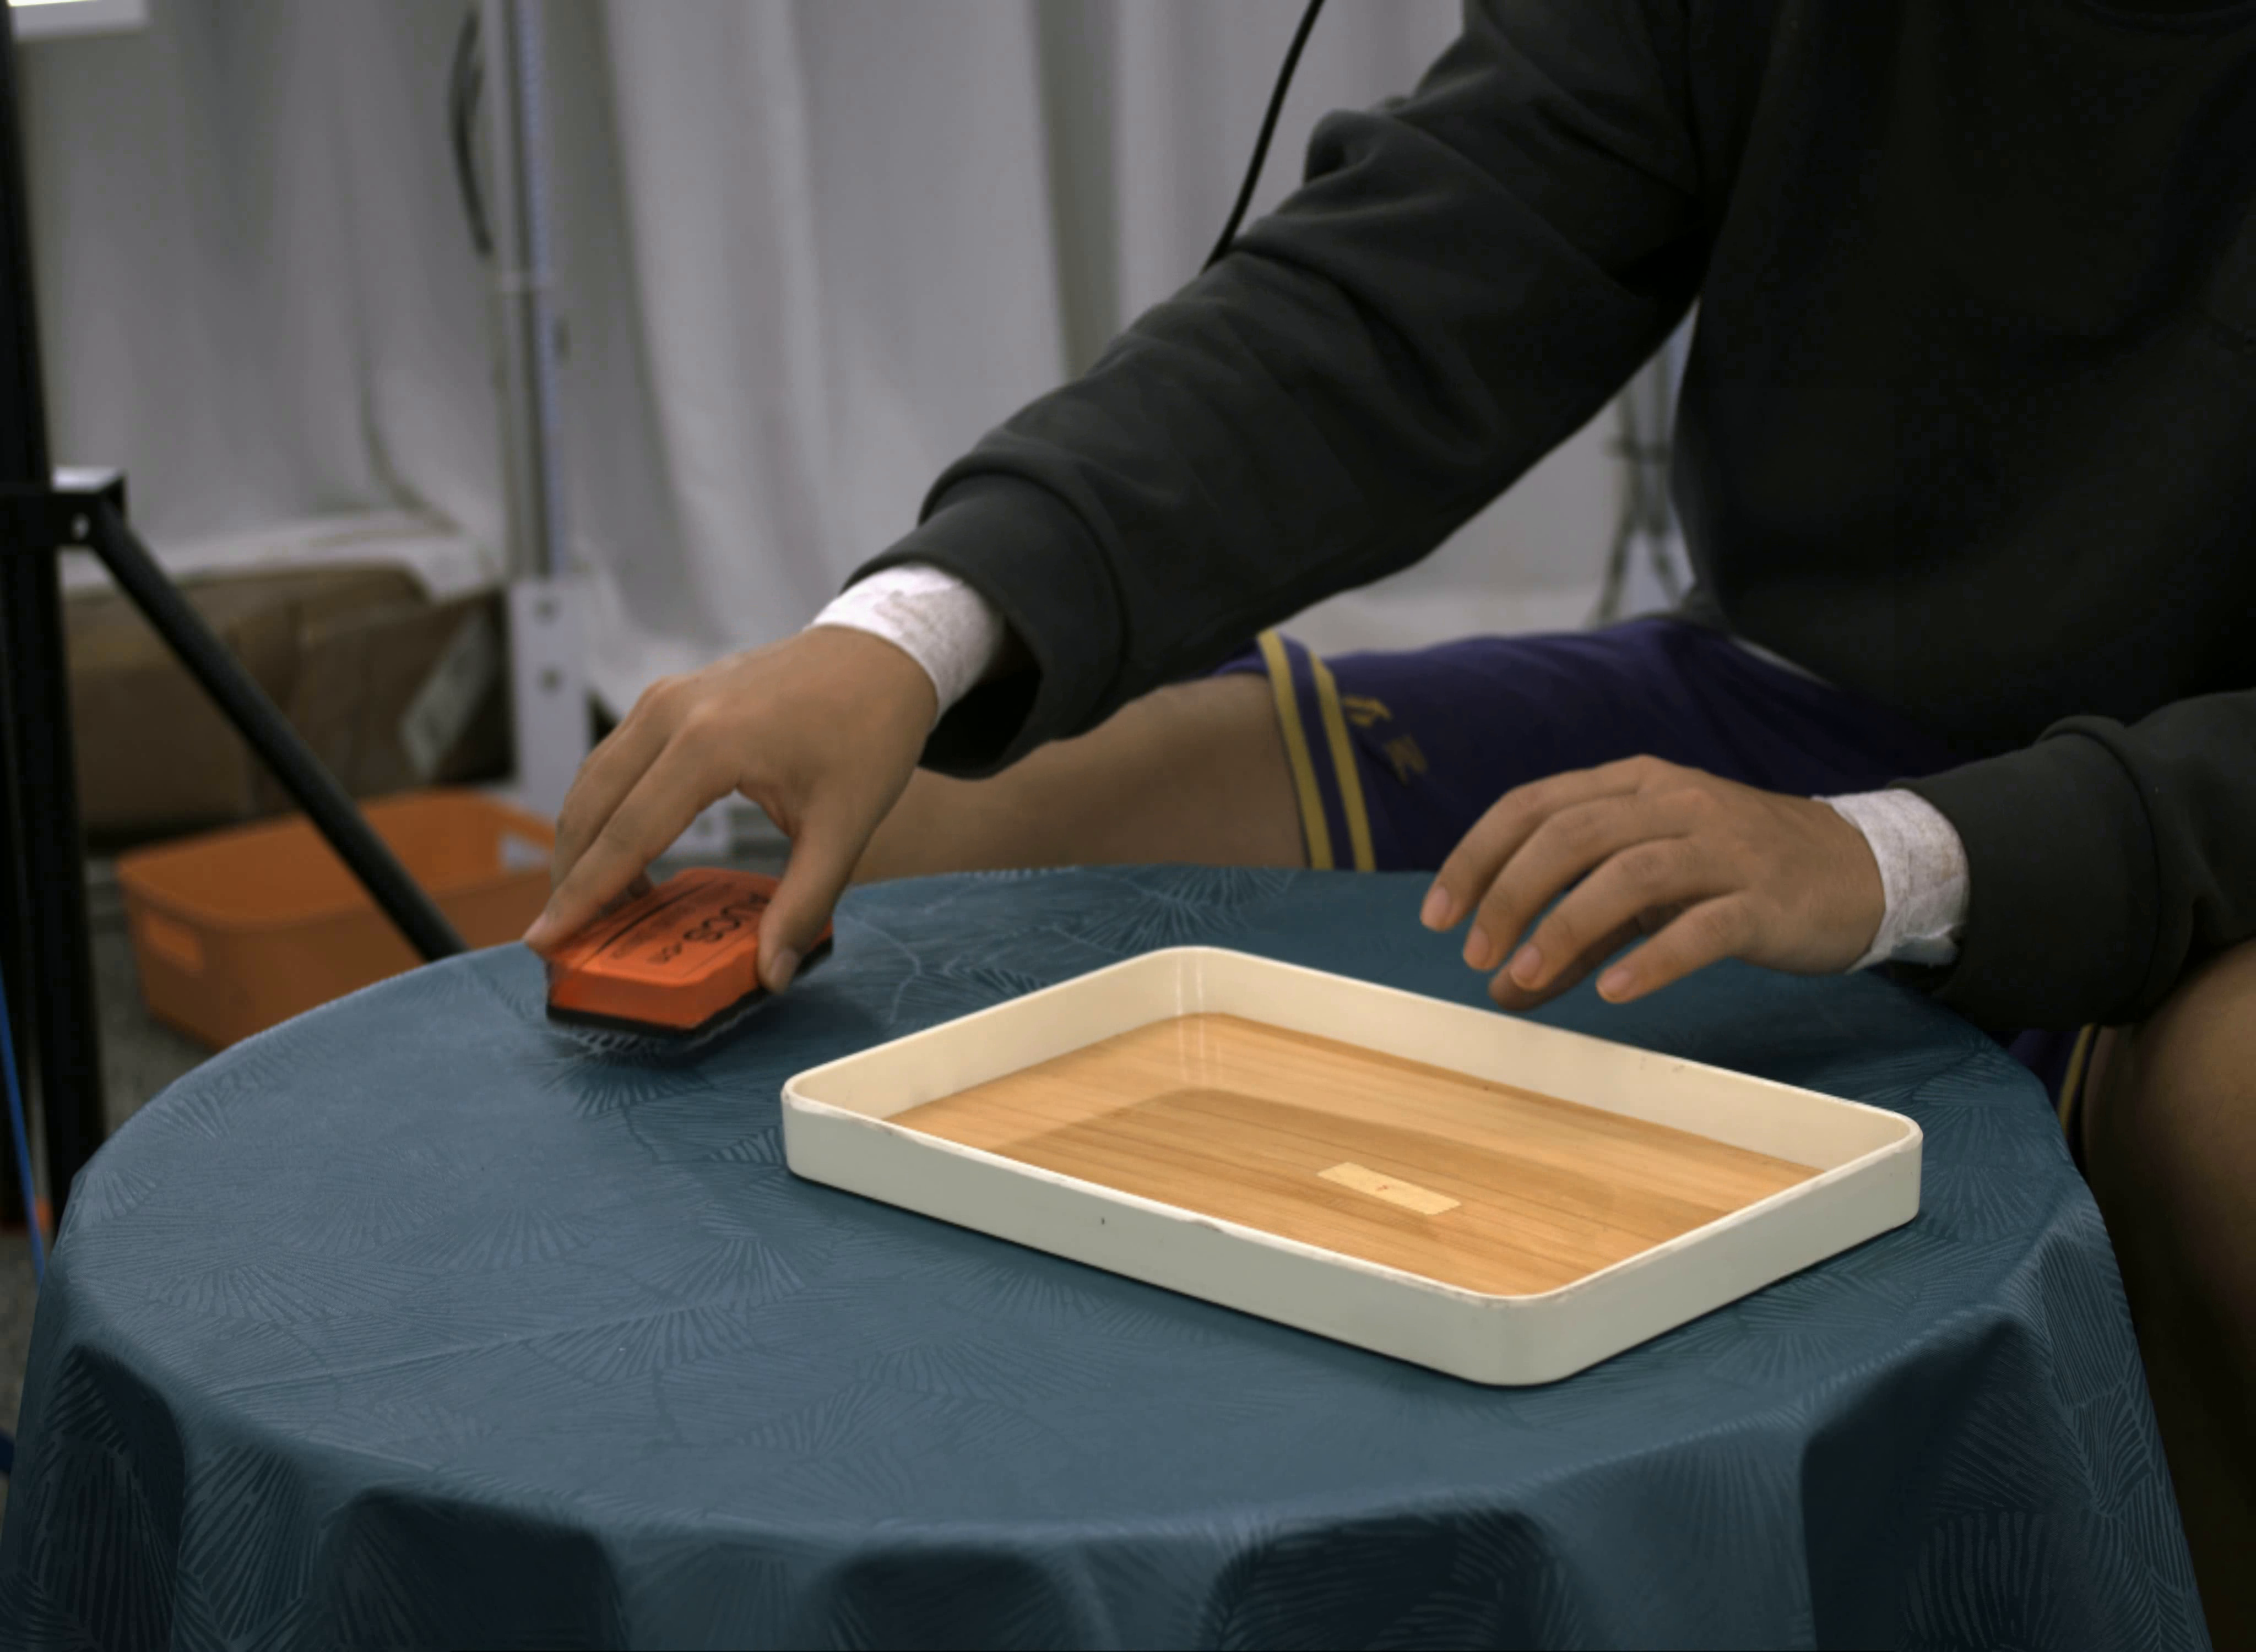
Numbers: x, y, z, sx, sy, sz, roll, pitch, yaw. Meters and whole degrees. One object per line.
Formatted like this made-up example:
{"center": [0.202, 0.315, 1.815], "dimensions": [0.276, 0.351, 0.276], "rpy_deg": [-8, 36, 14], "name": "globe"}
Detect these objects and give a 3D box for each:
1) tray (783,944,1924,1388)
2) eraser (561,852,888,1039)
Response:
{"center": [0.062, 0.094, 1.549], "dimensions": [0.187, 0.027, 0.307], "rpy_deg": [-17, 22, -42], "name": "tray"}
{"center": [-0.130, 0.038, 1.724], "dimensions": [0.060, 0.023, 0.106], "rpy_deg": [12, 24, 36], "name": "eraser"}
